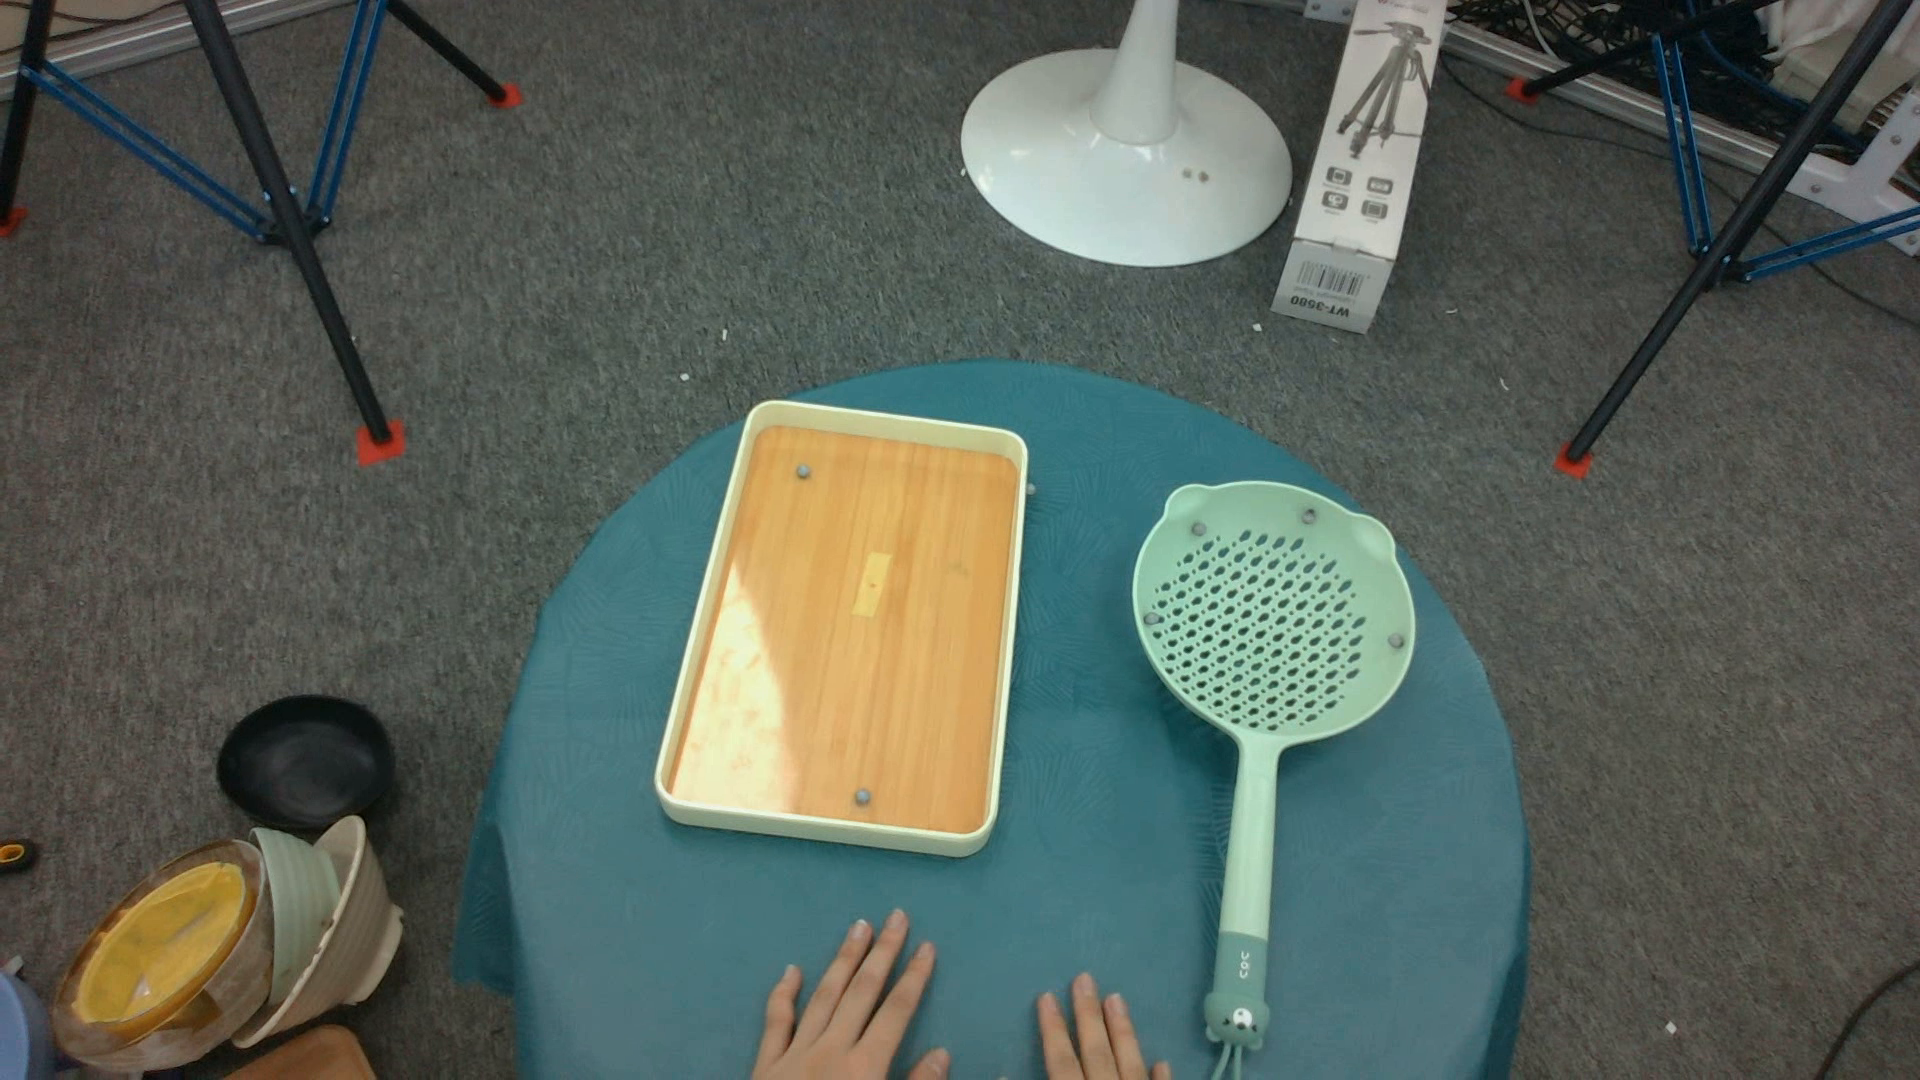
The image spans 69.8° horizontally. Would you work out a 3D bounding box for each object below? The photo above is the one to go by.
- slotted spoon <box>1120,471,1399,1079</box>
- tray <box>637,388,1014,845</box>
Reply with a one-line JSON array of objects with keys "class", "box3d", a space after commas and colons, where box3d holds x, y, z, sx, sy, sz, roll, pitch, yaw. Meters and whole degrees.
[{"class": "slotted spoon", "box3d": [0.160, 0.121, 0.785, 0.169, 0.075, 0.360, 11, 53, 2]}, {"class": "tray", "box3d": [-0.071, 0.034, 0.844, 0.191, 0.027, 0.301, 8, 53, -1]}]
